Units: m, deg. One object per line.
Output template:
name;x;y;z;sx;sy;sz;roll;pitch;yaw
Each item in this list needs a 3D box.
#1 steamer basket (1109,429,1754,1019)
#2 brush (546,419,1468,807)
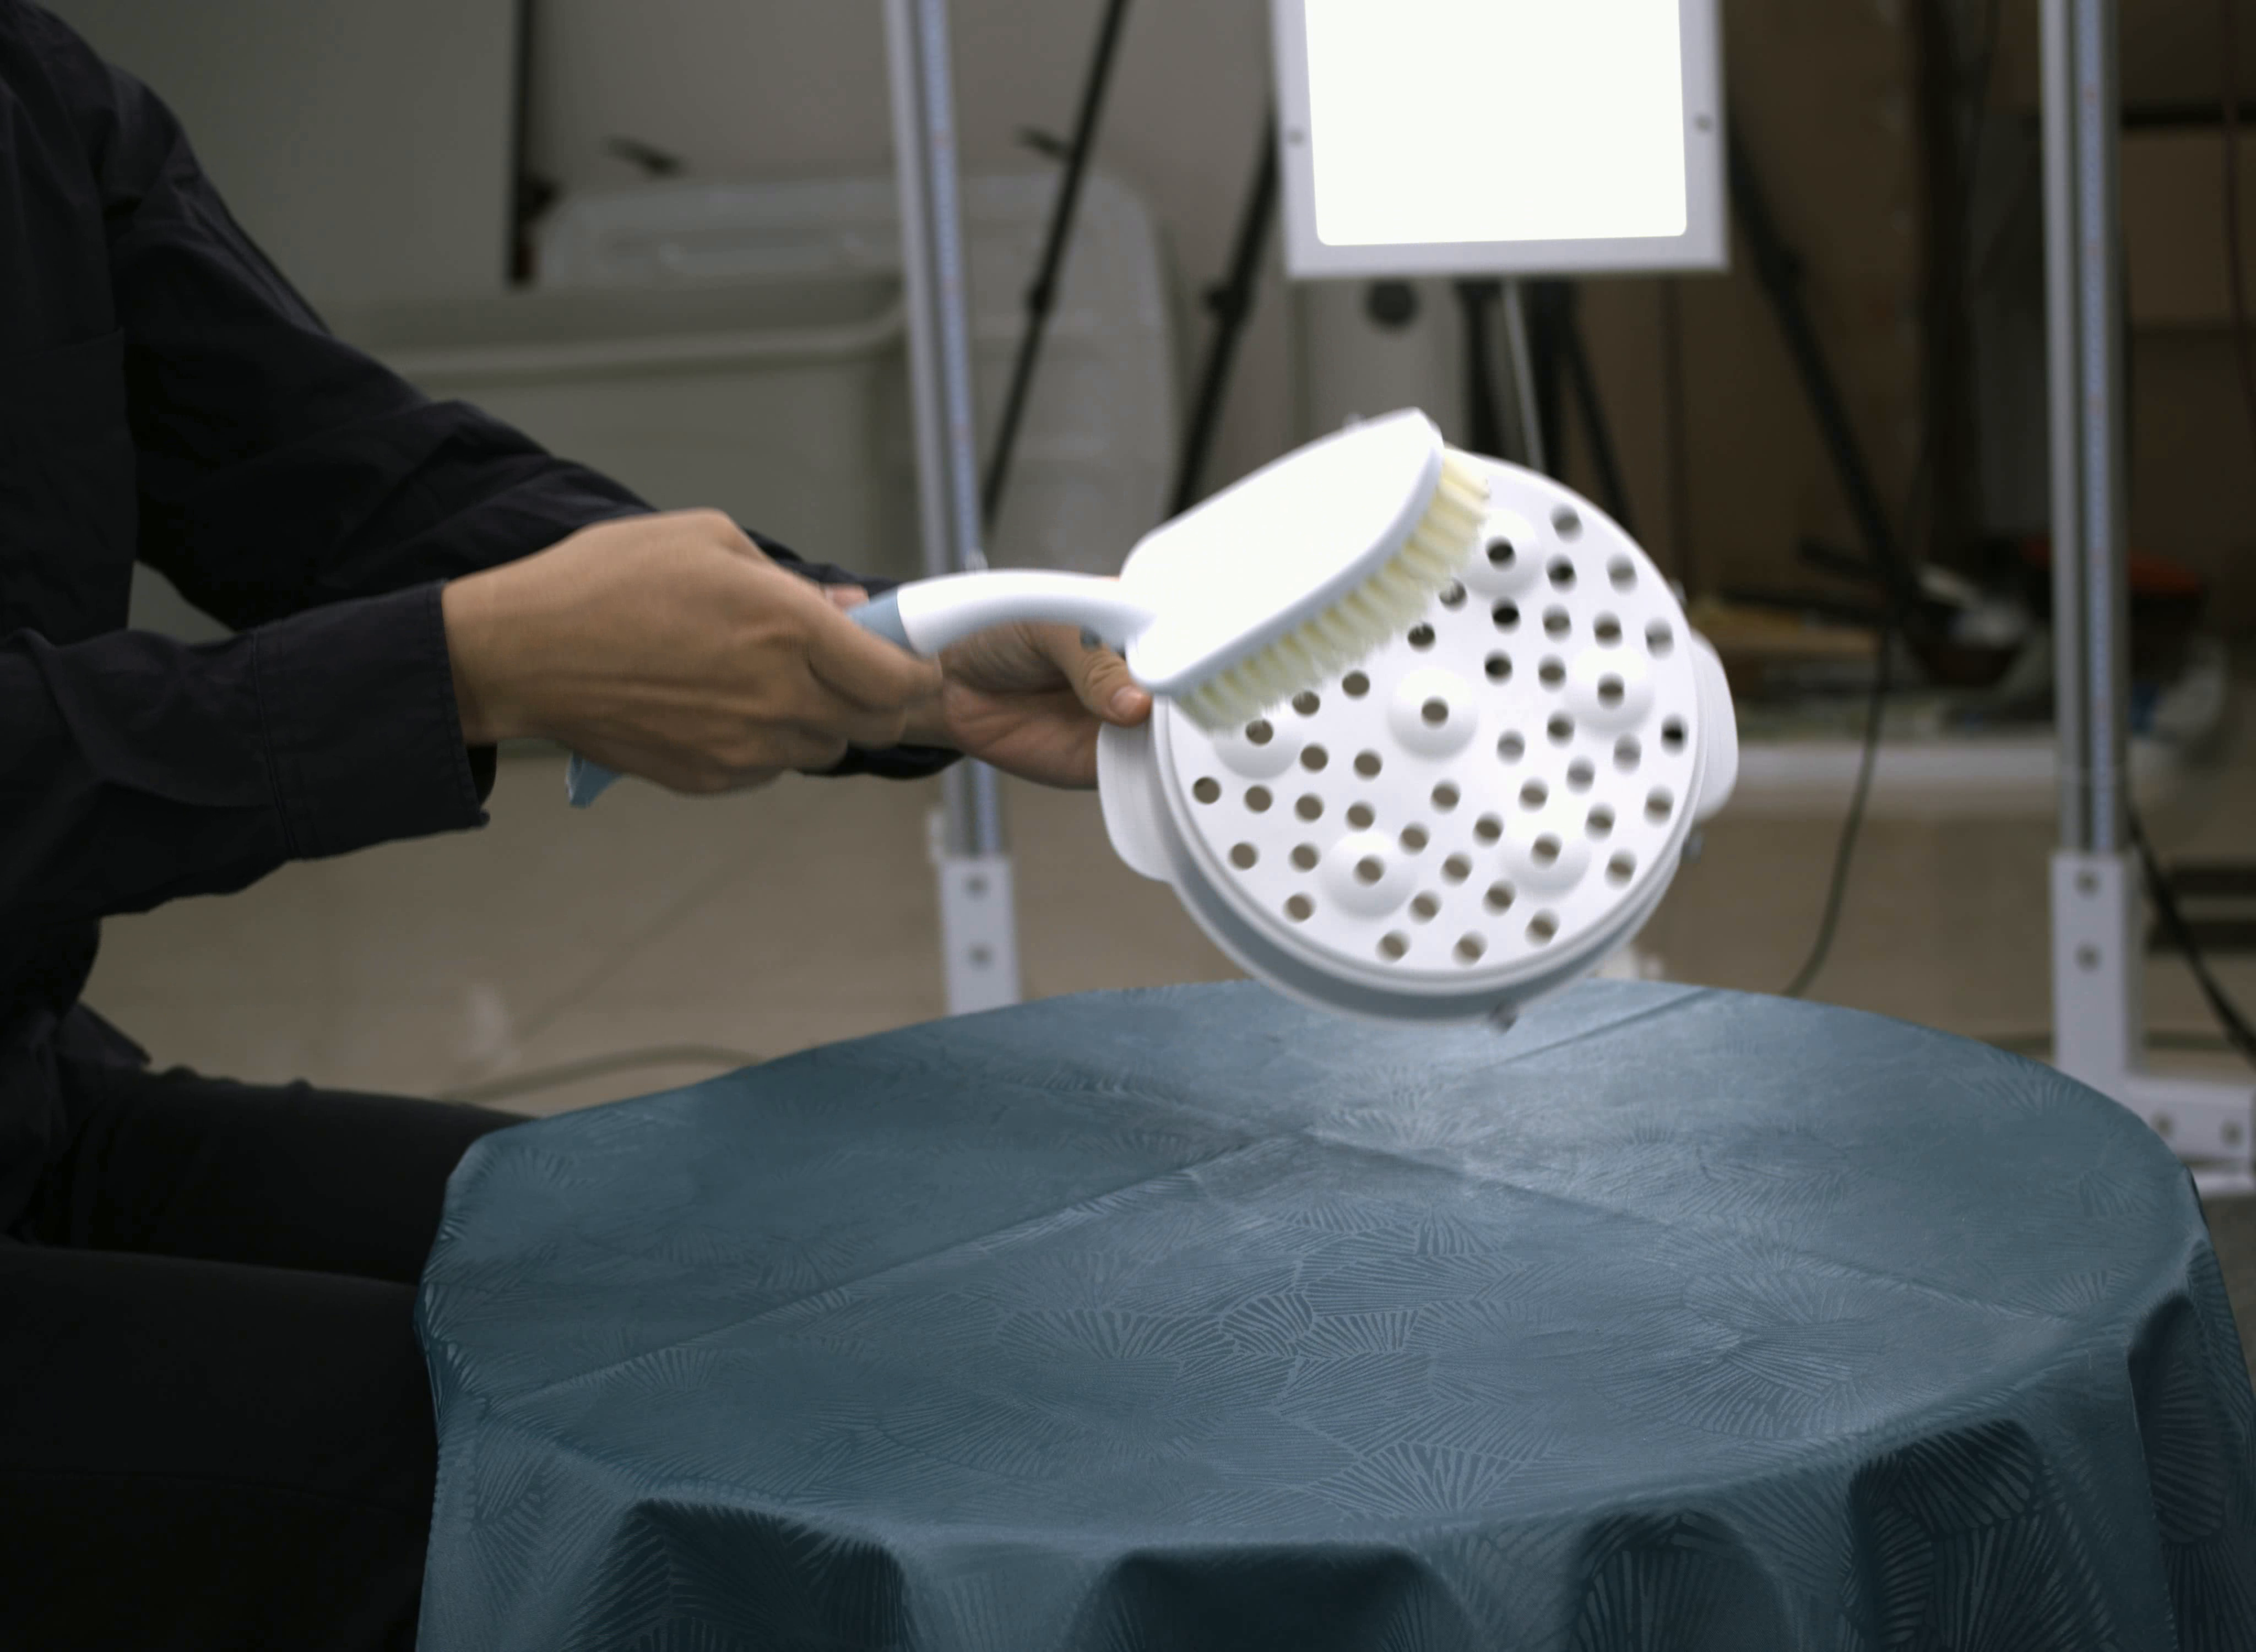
steamer basket;0.110;-0.037;1.919;0.229;0.202;0.069;-9;-14;-3
brush;-0.036;-0.053;1.809;0.329;0.084;0.082;-20;9;17
